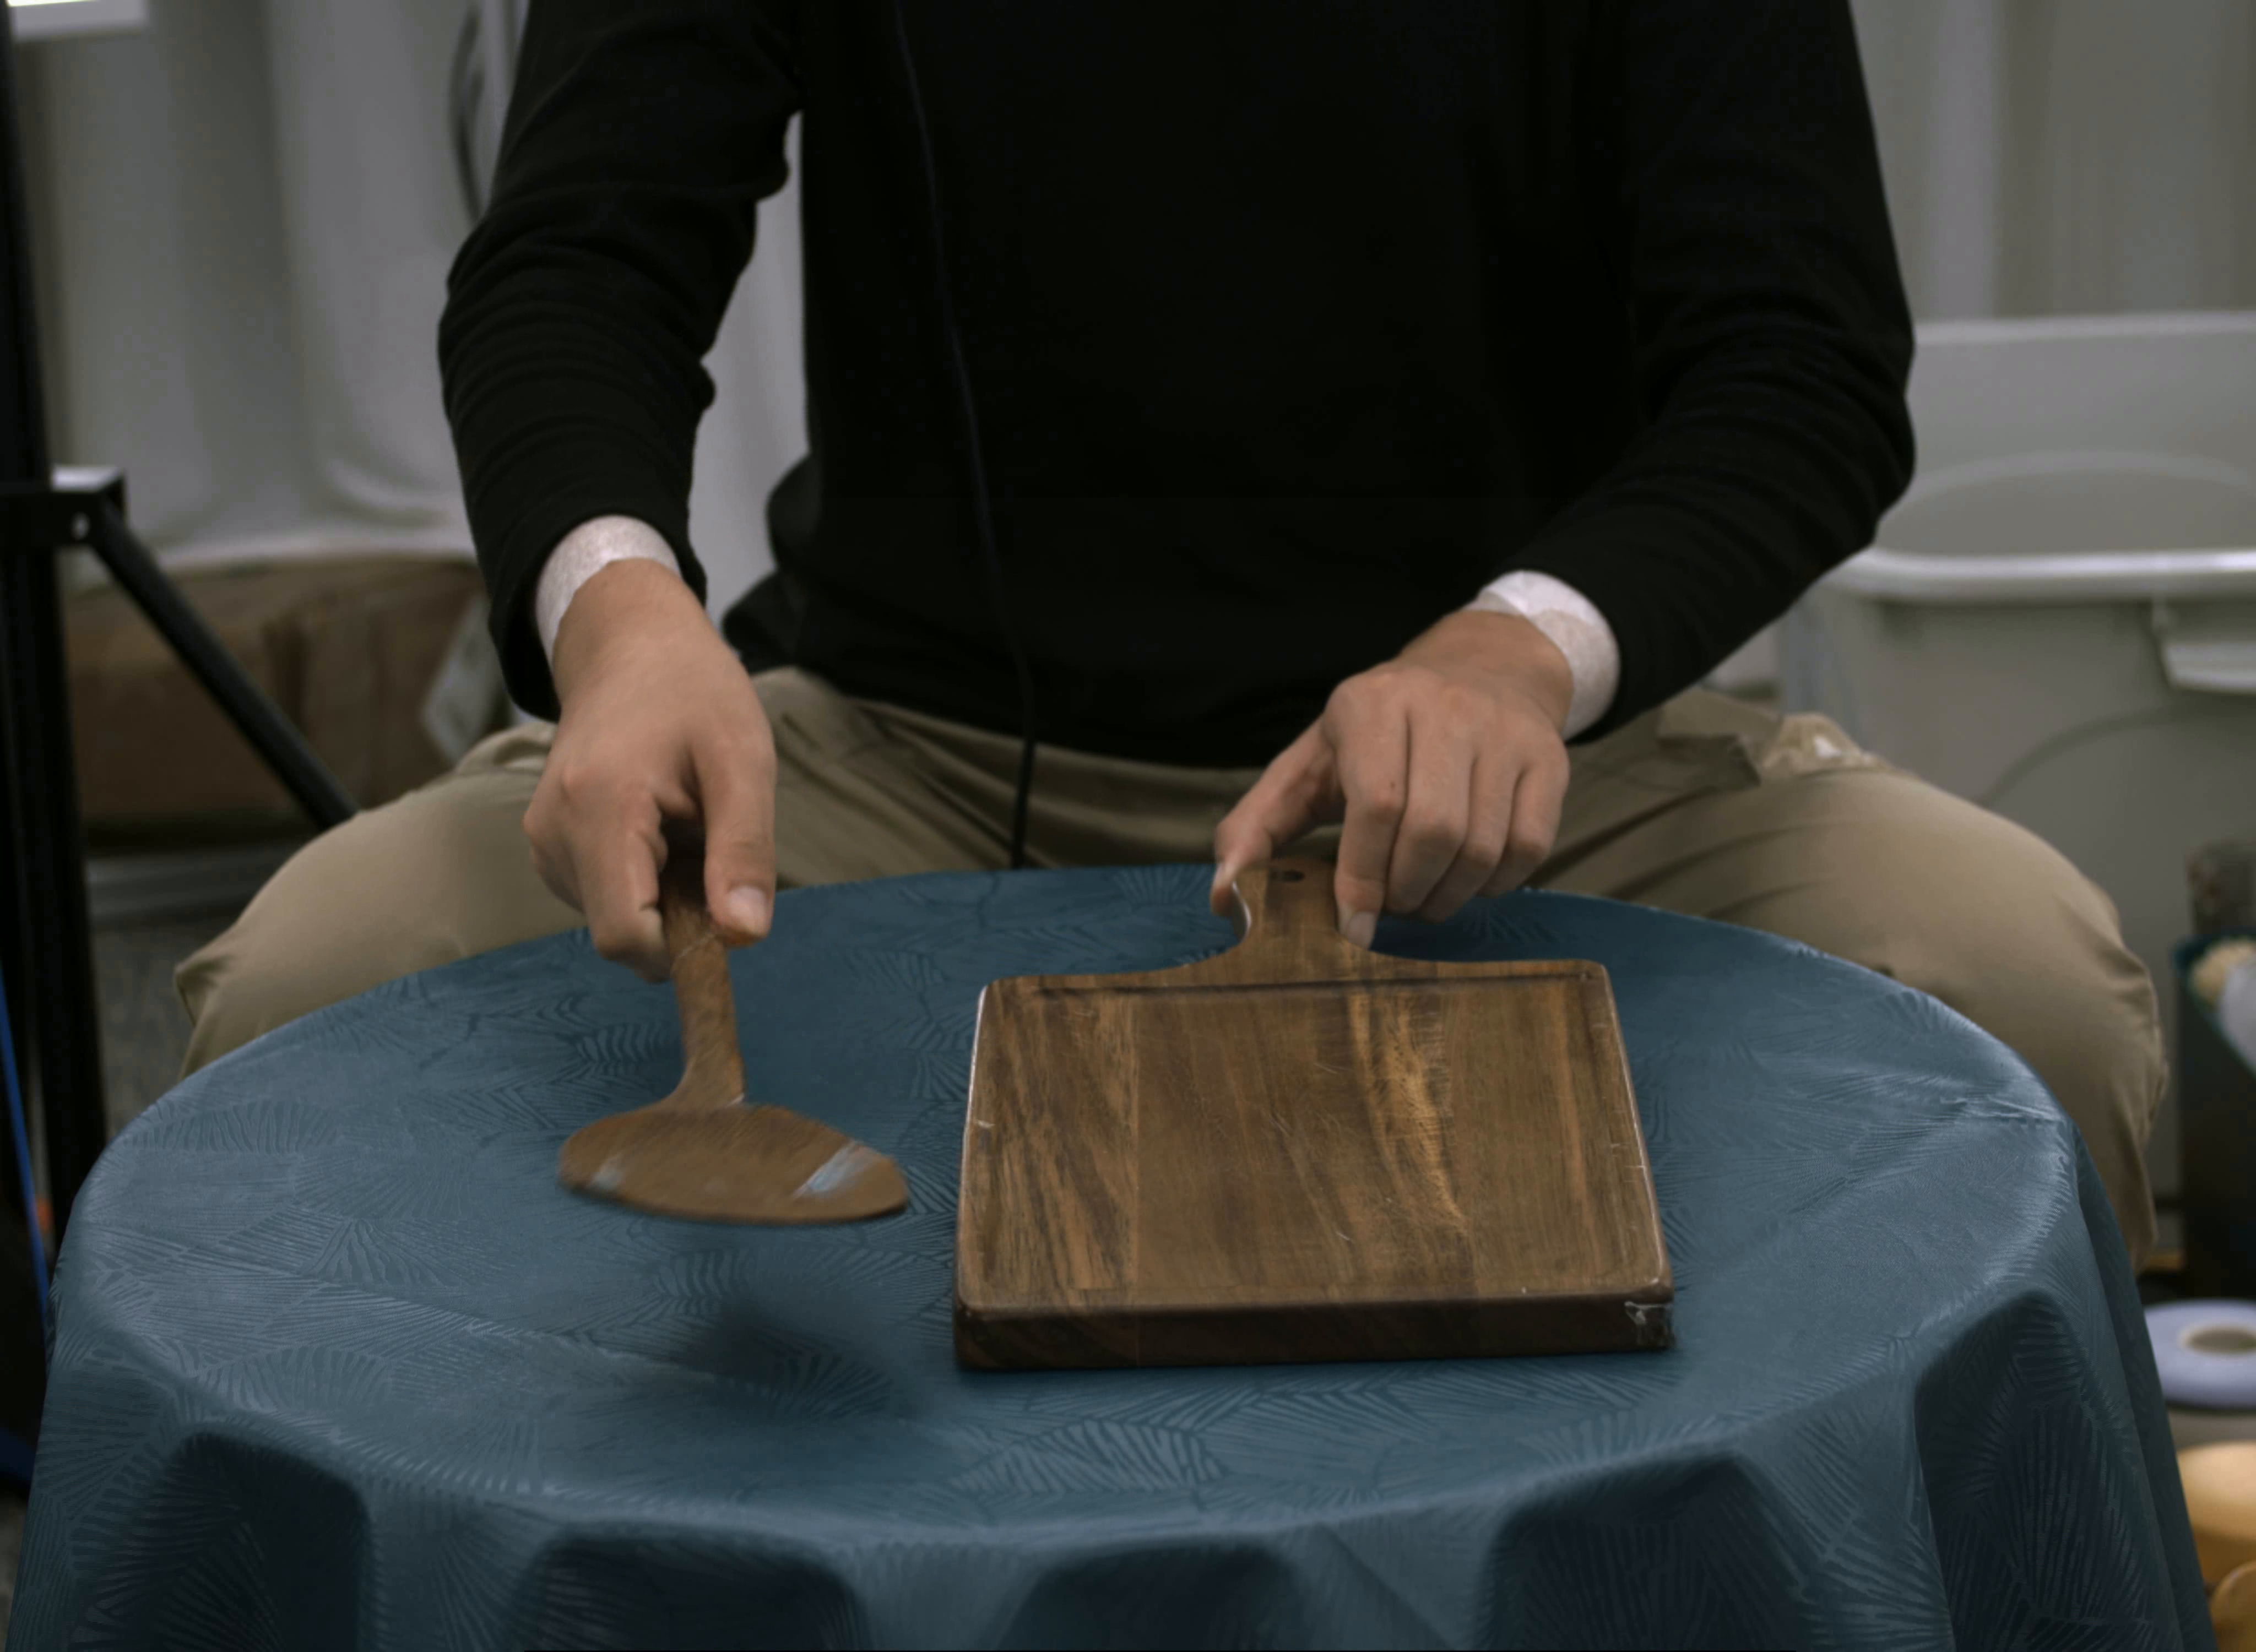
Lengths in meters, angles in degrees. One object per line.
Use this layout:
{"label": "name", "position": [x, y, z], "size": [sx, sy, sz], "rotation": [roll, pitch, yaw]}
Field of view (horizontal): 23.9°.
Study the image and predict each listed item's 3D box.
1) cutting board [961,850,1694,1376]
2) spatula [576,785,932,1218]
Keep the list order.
{"label": "cutting board", "position": [0.052, 0.077, 1.578], "size": [0.200, 0.023, 0.354], "rotation": [-2, 20, 1]}
{"label": "spatula", "position": [-0.123, 0.045, 1.573], "size": [0.095, 0.016, 0.390], "rotation": [4, 16, -10]}
